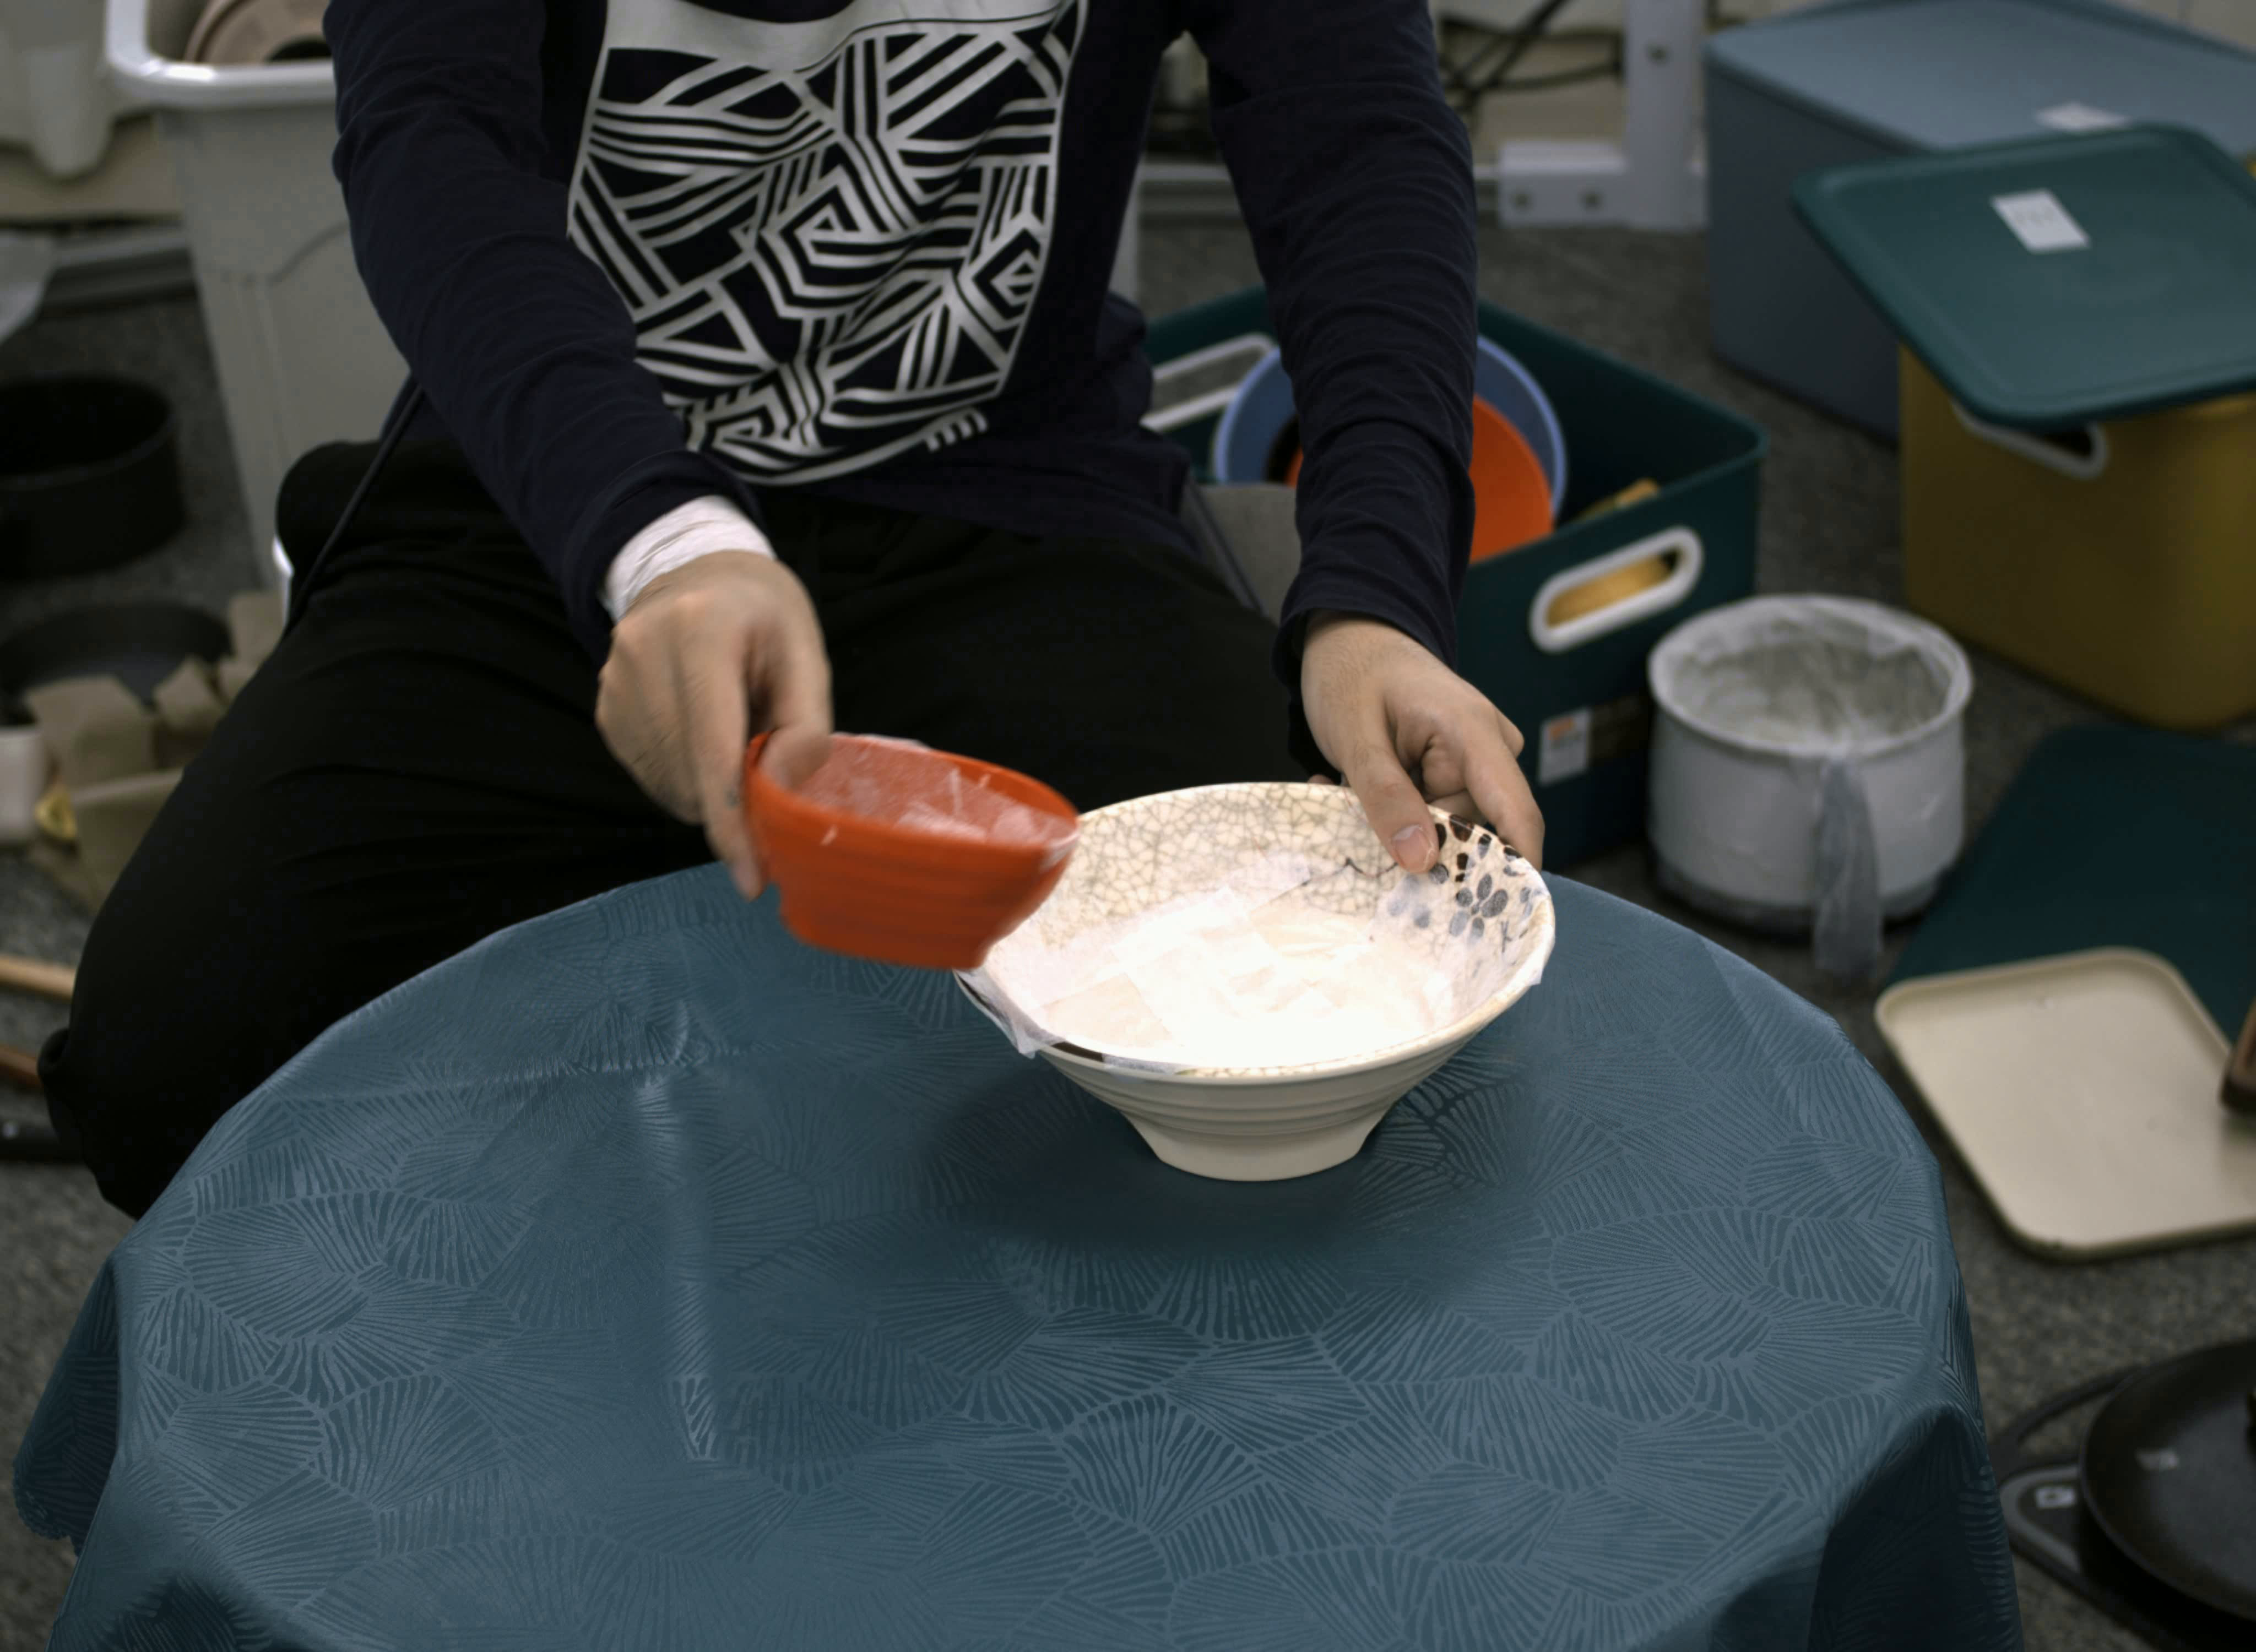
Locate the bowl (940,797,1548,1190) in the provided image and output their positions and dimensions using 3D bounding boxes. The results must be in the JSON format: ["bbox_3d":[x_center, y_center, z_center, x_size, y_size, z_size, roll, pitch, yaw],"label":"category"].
[{"bbox_3d":[0.038,0.067,1.882,0.203,0.077,0.207,0,25,1],"label":"bowl"}]

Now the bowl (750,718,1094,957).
[{"bbox_3d":[-0.070,0.006,1.801,0.118,0.051,0.120,11,13,-2],"label":"bowl"}]
